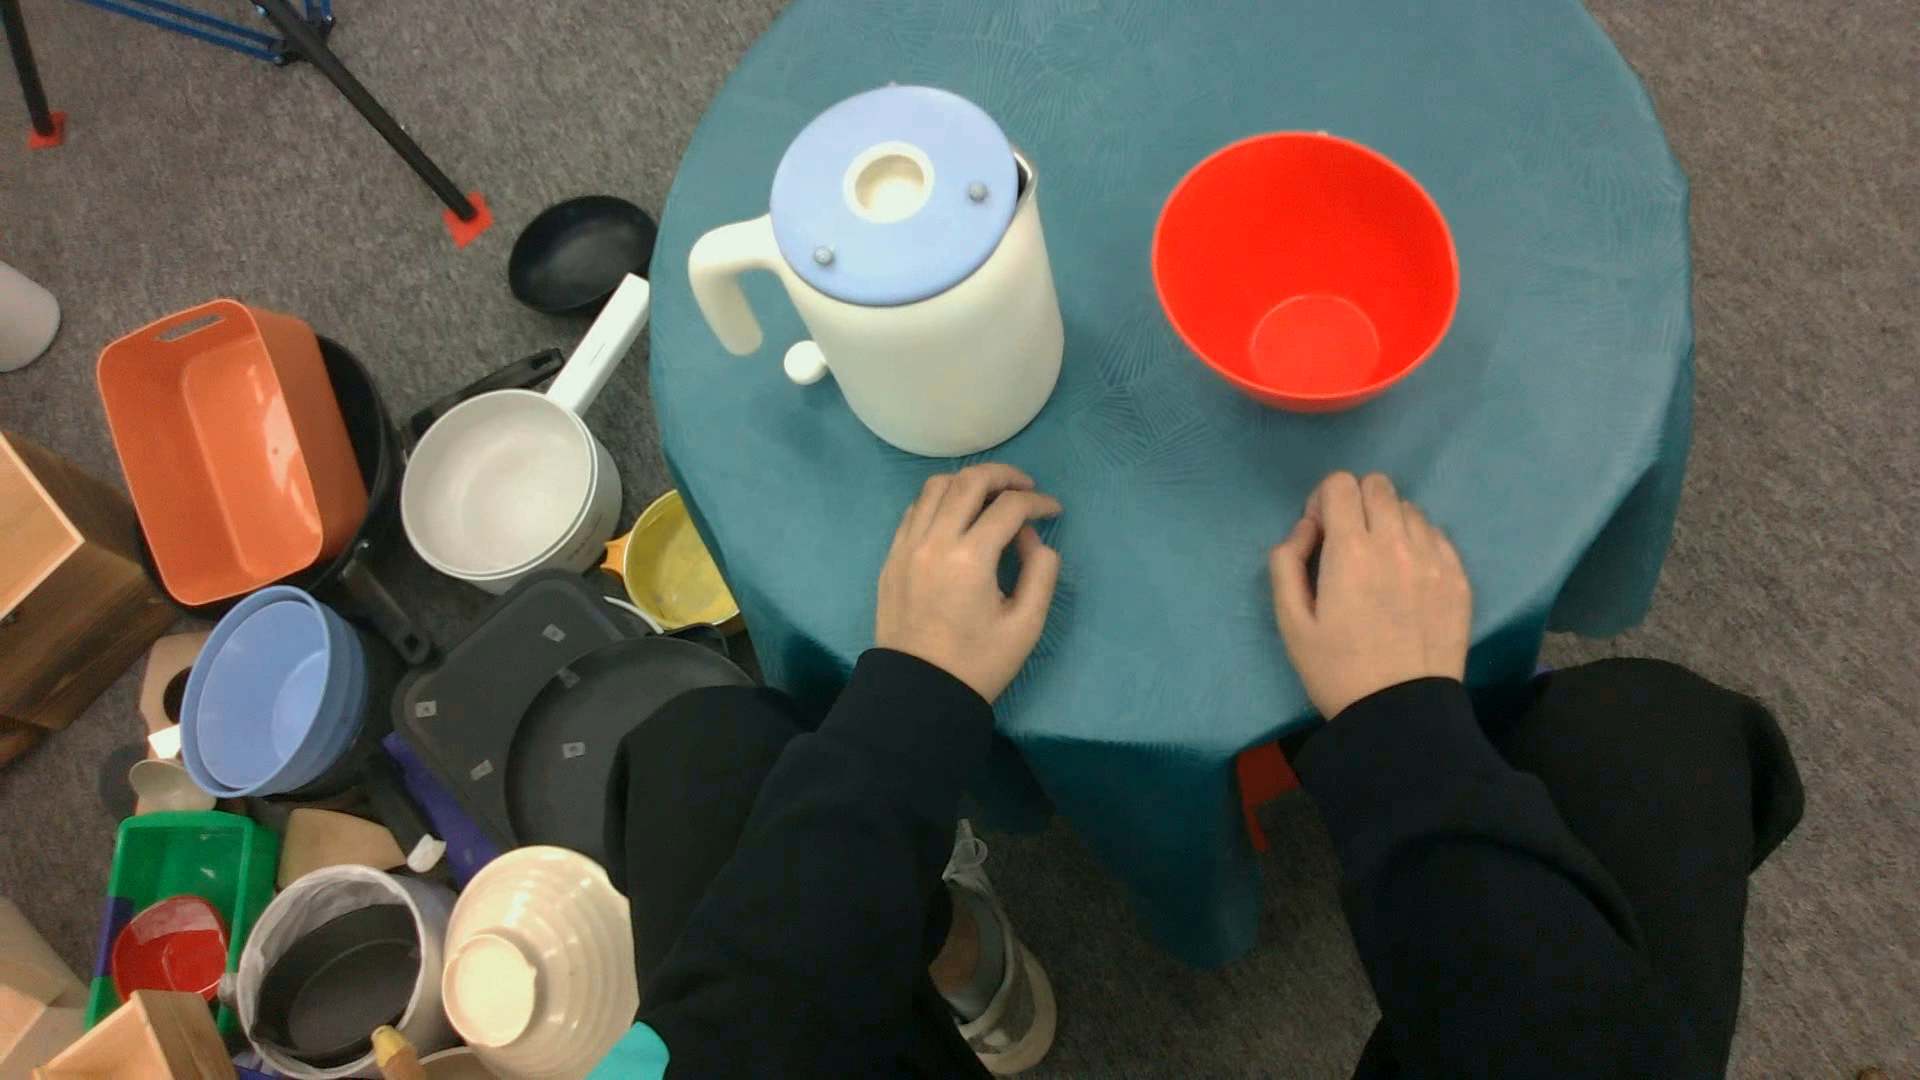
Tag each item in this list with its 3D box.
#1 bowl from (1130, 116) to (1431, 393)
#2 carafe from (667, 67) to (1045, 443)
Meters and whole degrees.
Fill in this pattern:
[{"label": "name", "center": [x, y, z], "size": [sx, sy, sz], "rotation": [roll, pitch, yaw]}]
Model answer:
[{"label": "bowl", "center": [0.165, -0.134, 0.719], "size": [0.148, 0.104, 0.148], "rotation": [-3, 70, 8]}, {"label": "carafe", "center": [-0.053, -0.138, 0.718], "size": [0.191, 0.182, 0.132], "rotation": [-10, 68, 8]}]
